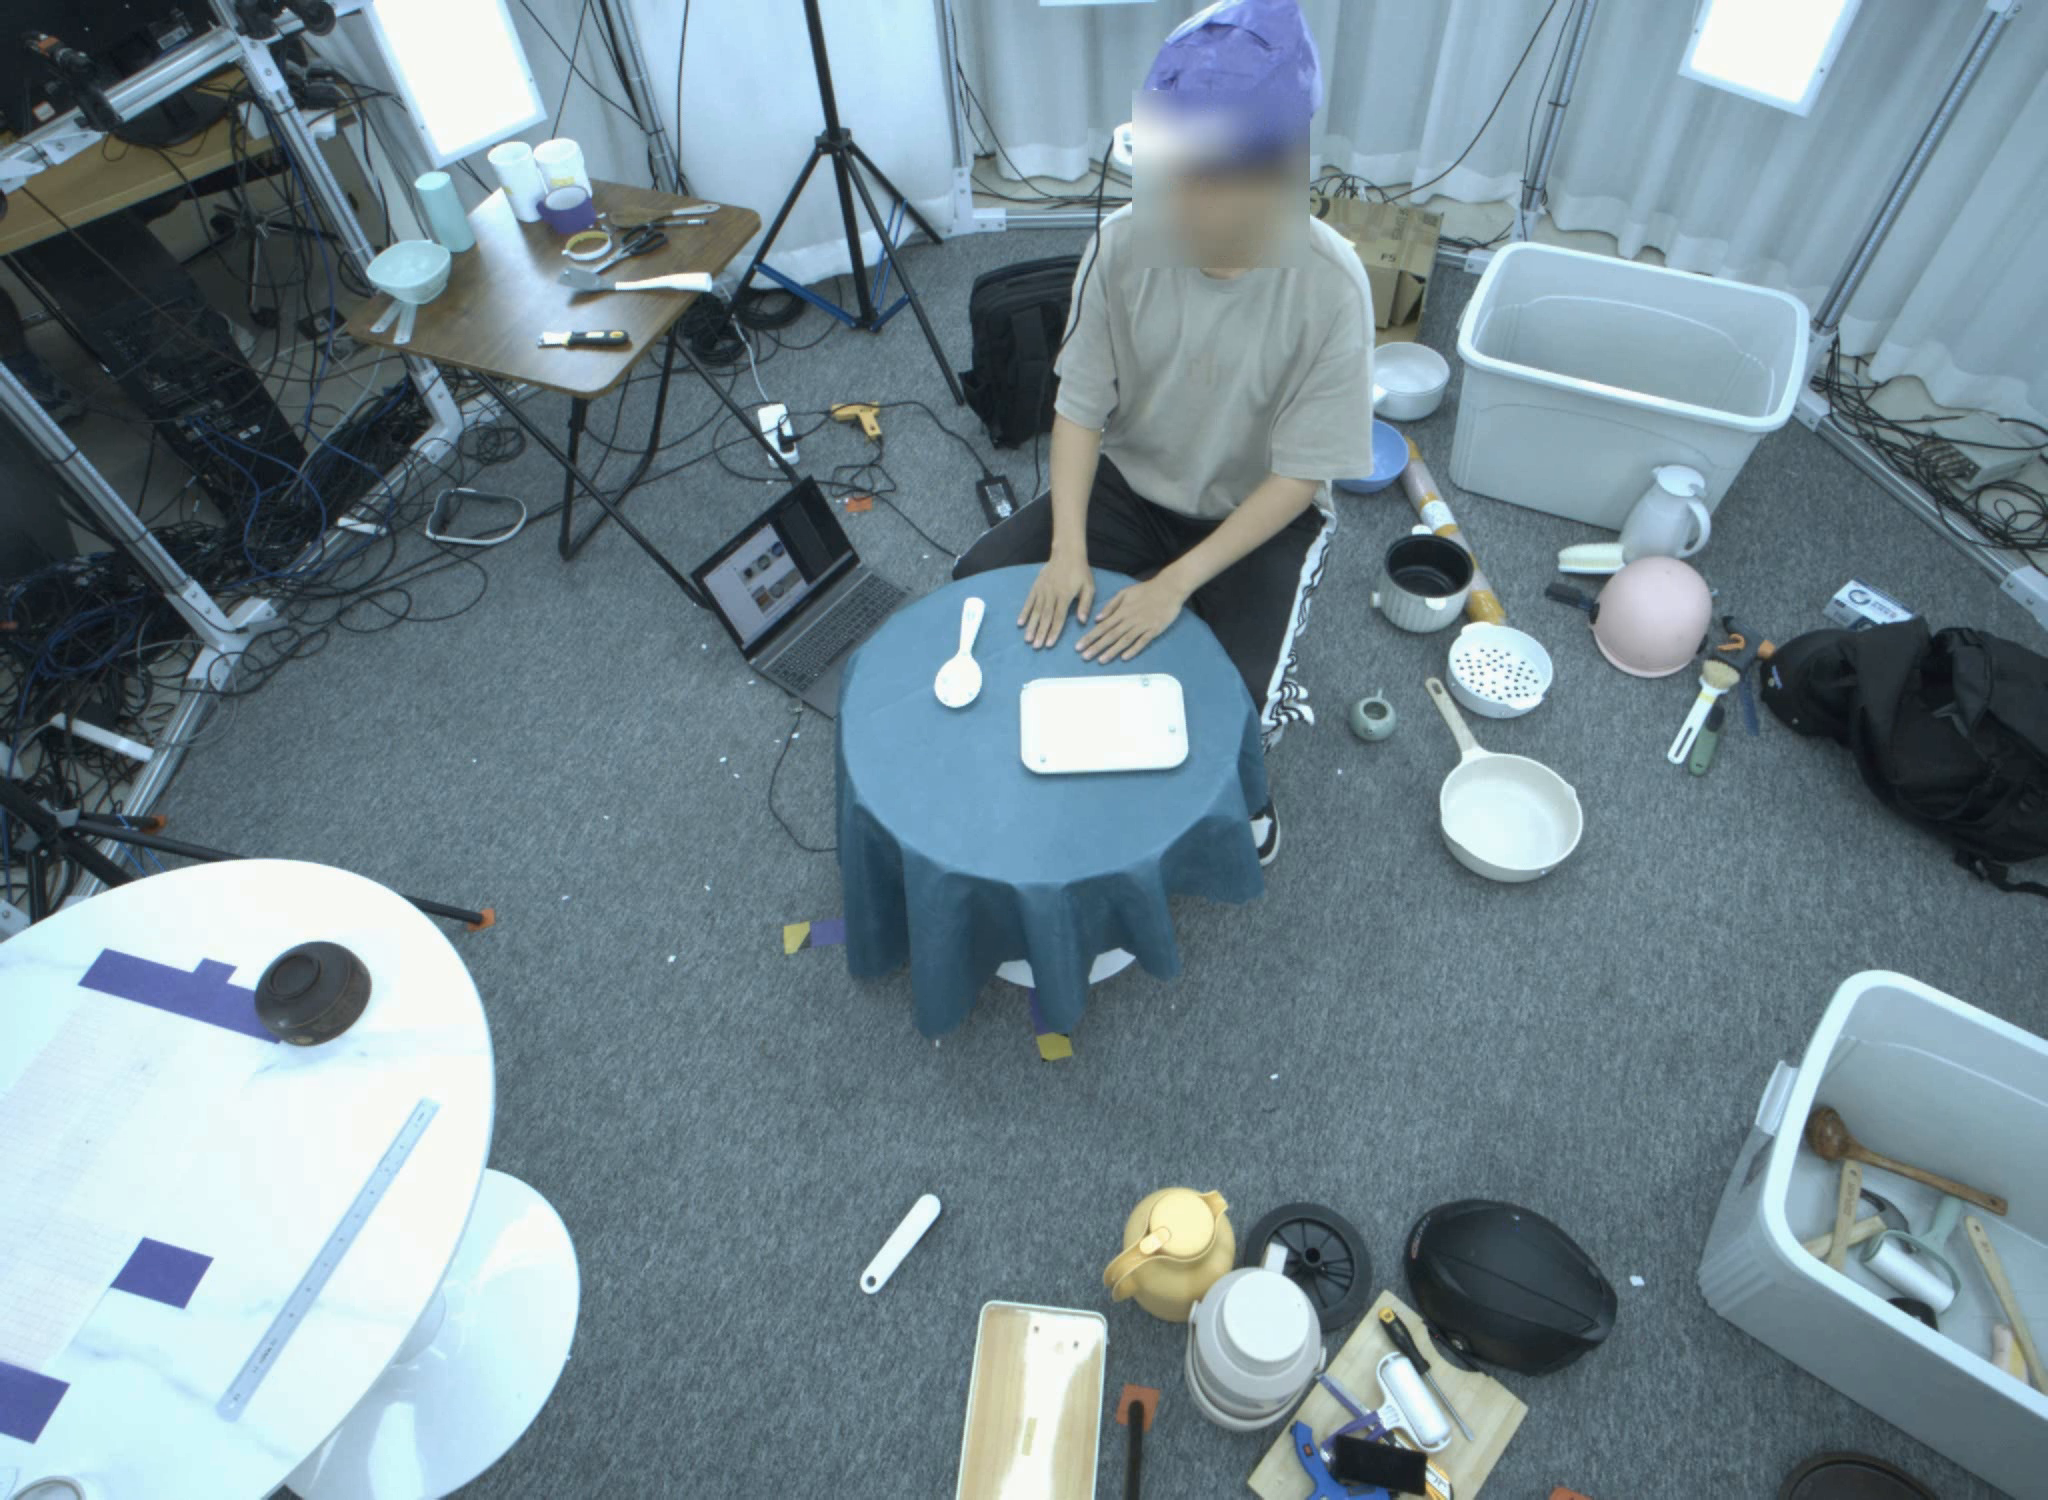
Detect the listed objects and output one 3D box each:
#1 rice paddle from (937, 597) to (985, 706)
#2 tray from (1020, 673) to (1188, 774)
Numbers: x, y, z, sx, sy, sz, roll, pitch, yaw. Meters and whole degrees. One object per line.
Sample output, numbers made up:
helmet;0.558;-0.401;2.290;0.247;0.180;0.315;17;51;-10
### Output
rice paddle;-0.089;-0.150;1.875;0.068;0.030;0.204;4;55;7
tray;0.115;-0.038;1.797;0.239;0.017;0.169;-2;56;1
